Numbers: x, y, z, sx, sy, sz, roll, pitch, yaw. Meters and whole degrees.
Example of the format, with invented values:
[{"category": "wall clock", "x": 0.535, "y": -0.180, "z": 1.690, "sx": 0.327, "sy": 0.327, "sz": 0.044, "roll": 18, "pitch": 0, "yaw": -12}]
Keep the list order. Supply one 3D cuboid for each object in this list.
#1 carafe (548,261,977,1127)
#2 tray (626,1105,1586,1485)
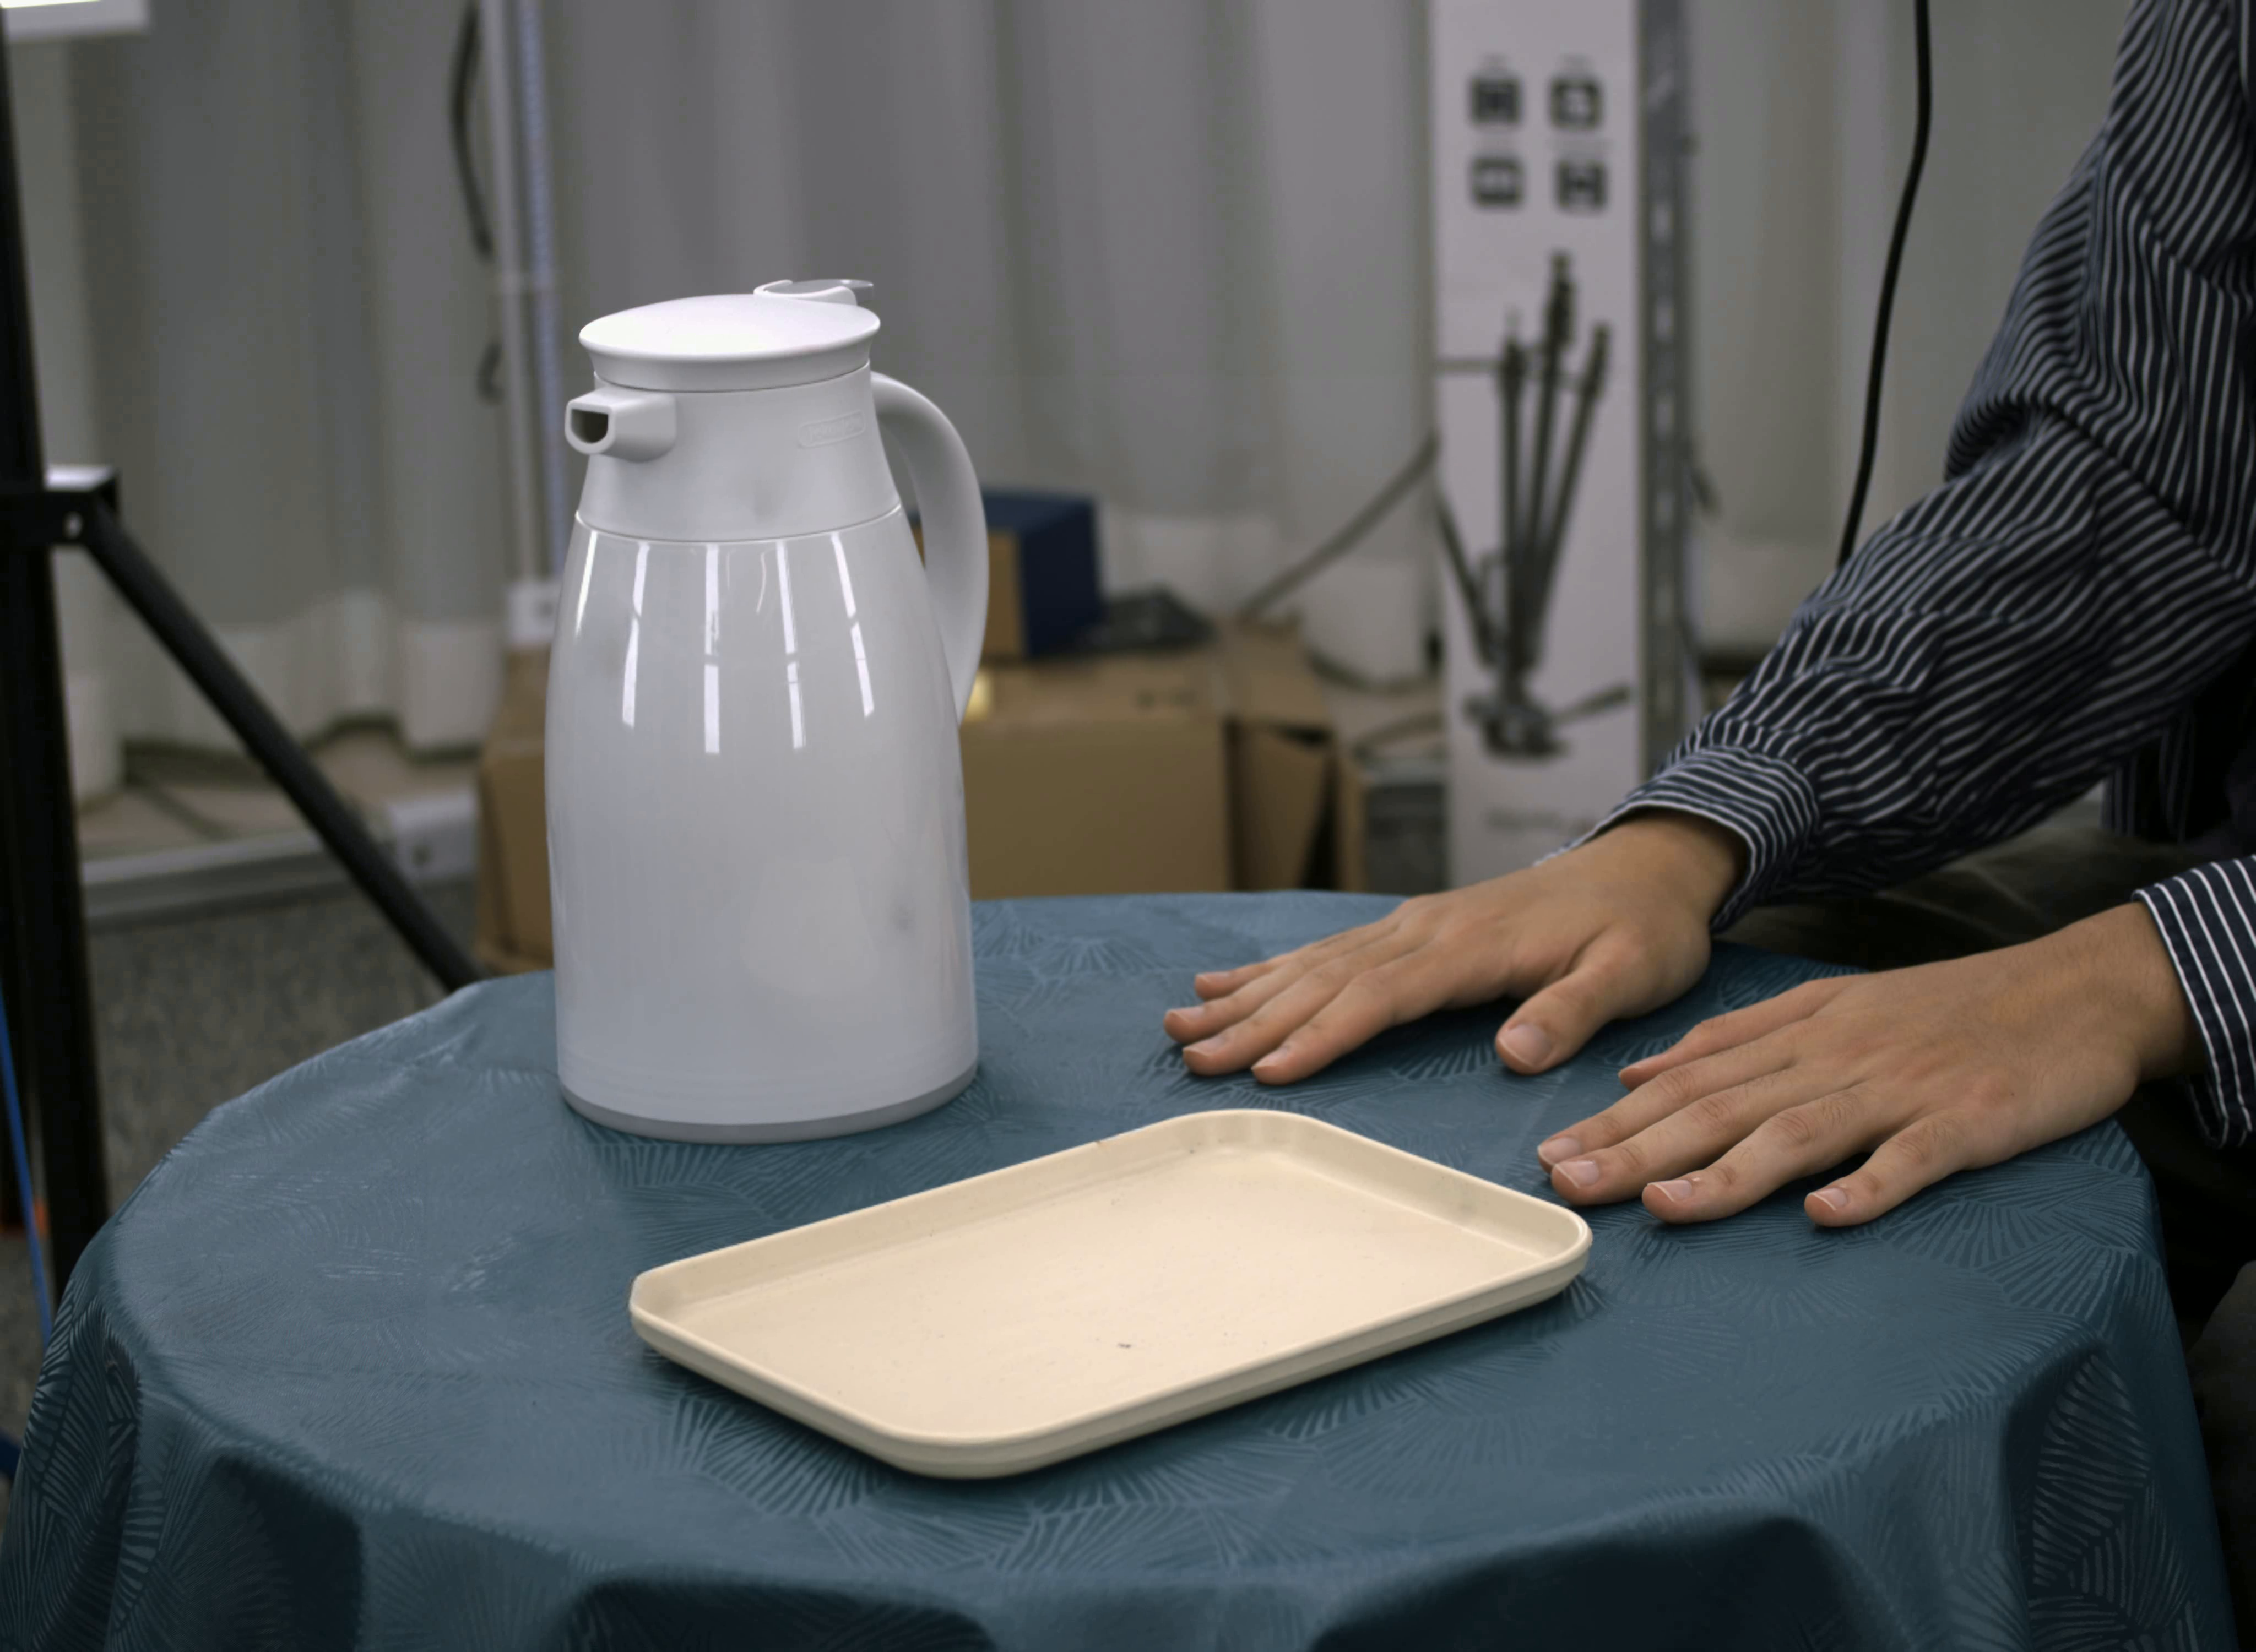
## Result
[{"category": "carafe", "x": -0.106, "y": -0.049, "z": 1.667, "sx": 0.135, "sy": 0.249, "sz": 0.164, "roll": 8, "pitch": 17, "yaw": 35}, {"category": "tray", "x": -0.004, "y": 0.128, "z": 1.463, "sx": 0.234, "sy": 0.017, "sz": 0.175, "roll": -14, "pitch": 20, "yaw": -35}]
